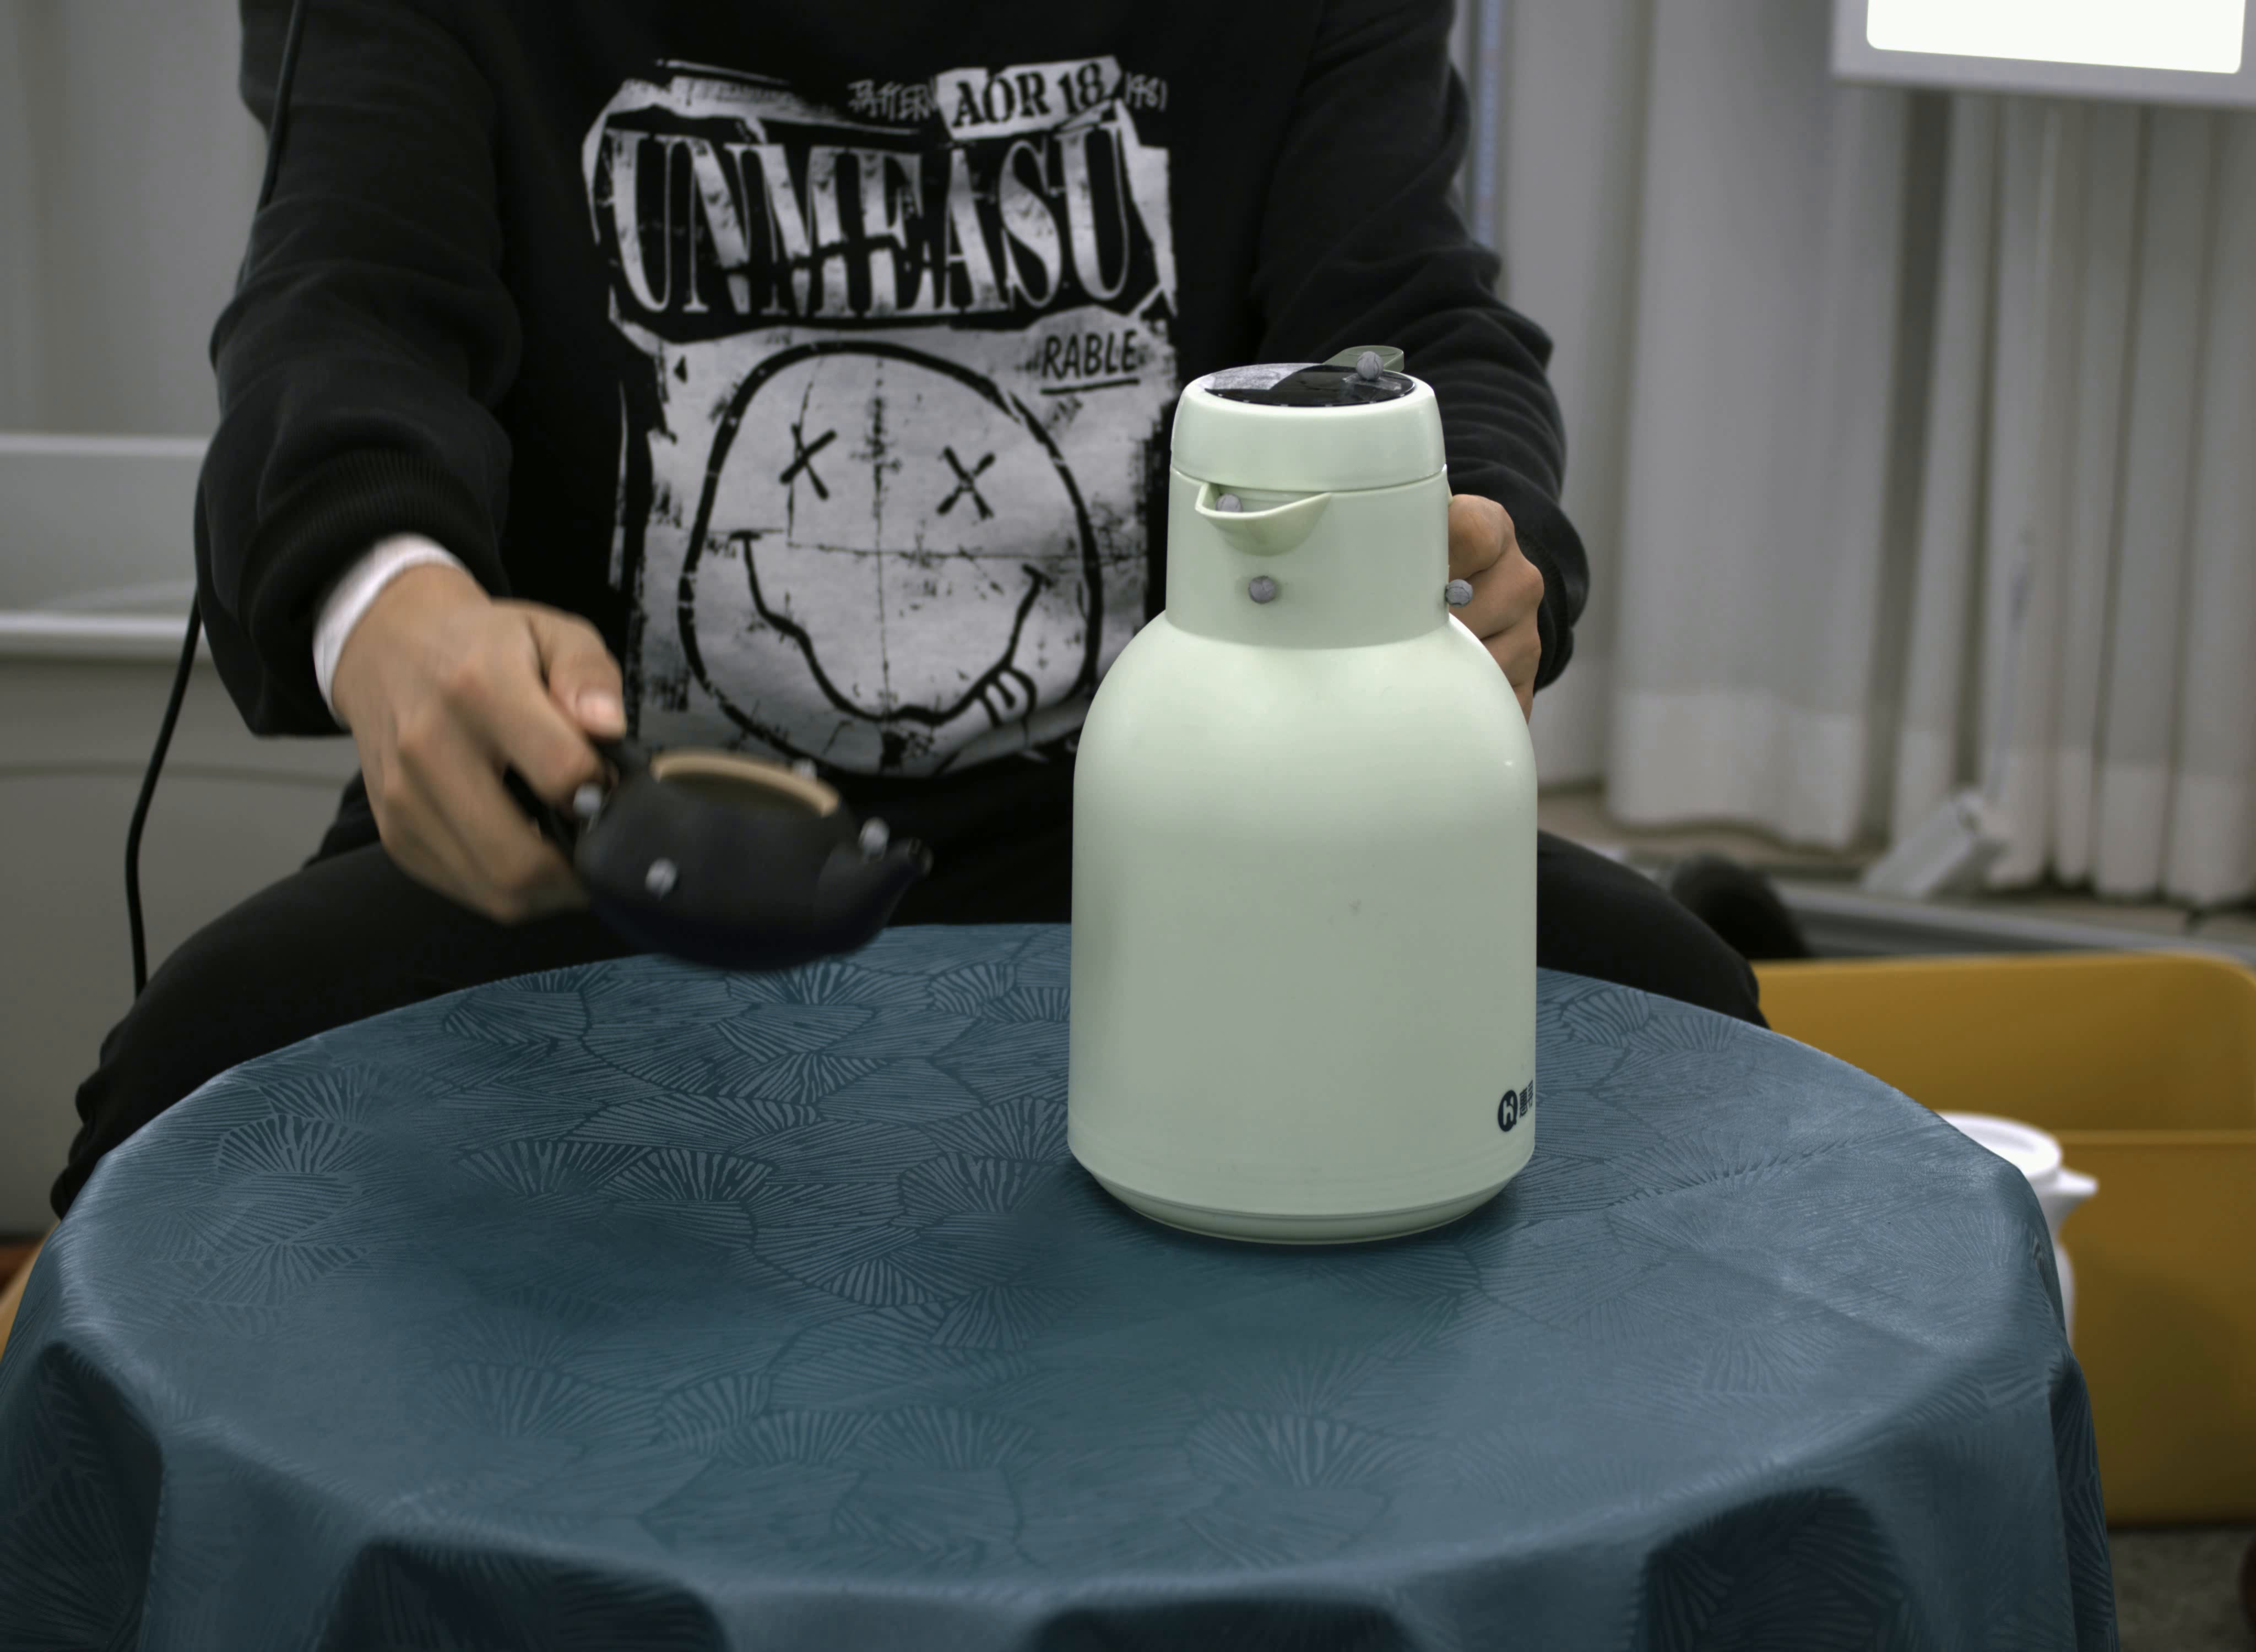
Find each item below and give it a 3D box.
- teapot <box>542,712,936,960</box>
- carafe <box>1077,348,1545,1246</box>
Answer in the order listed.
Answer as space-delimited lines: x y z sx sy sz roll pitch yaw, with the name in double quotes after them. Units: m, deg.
-0.120 0.006 1.570 0.132 0.053 0.091 20 14 21 "teapot"
0.060 -0.014 1.610 0.143 0.258 0.187 4 13 20 "carafe"
